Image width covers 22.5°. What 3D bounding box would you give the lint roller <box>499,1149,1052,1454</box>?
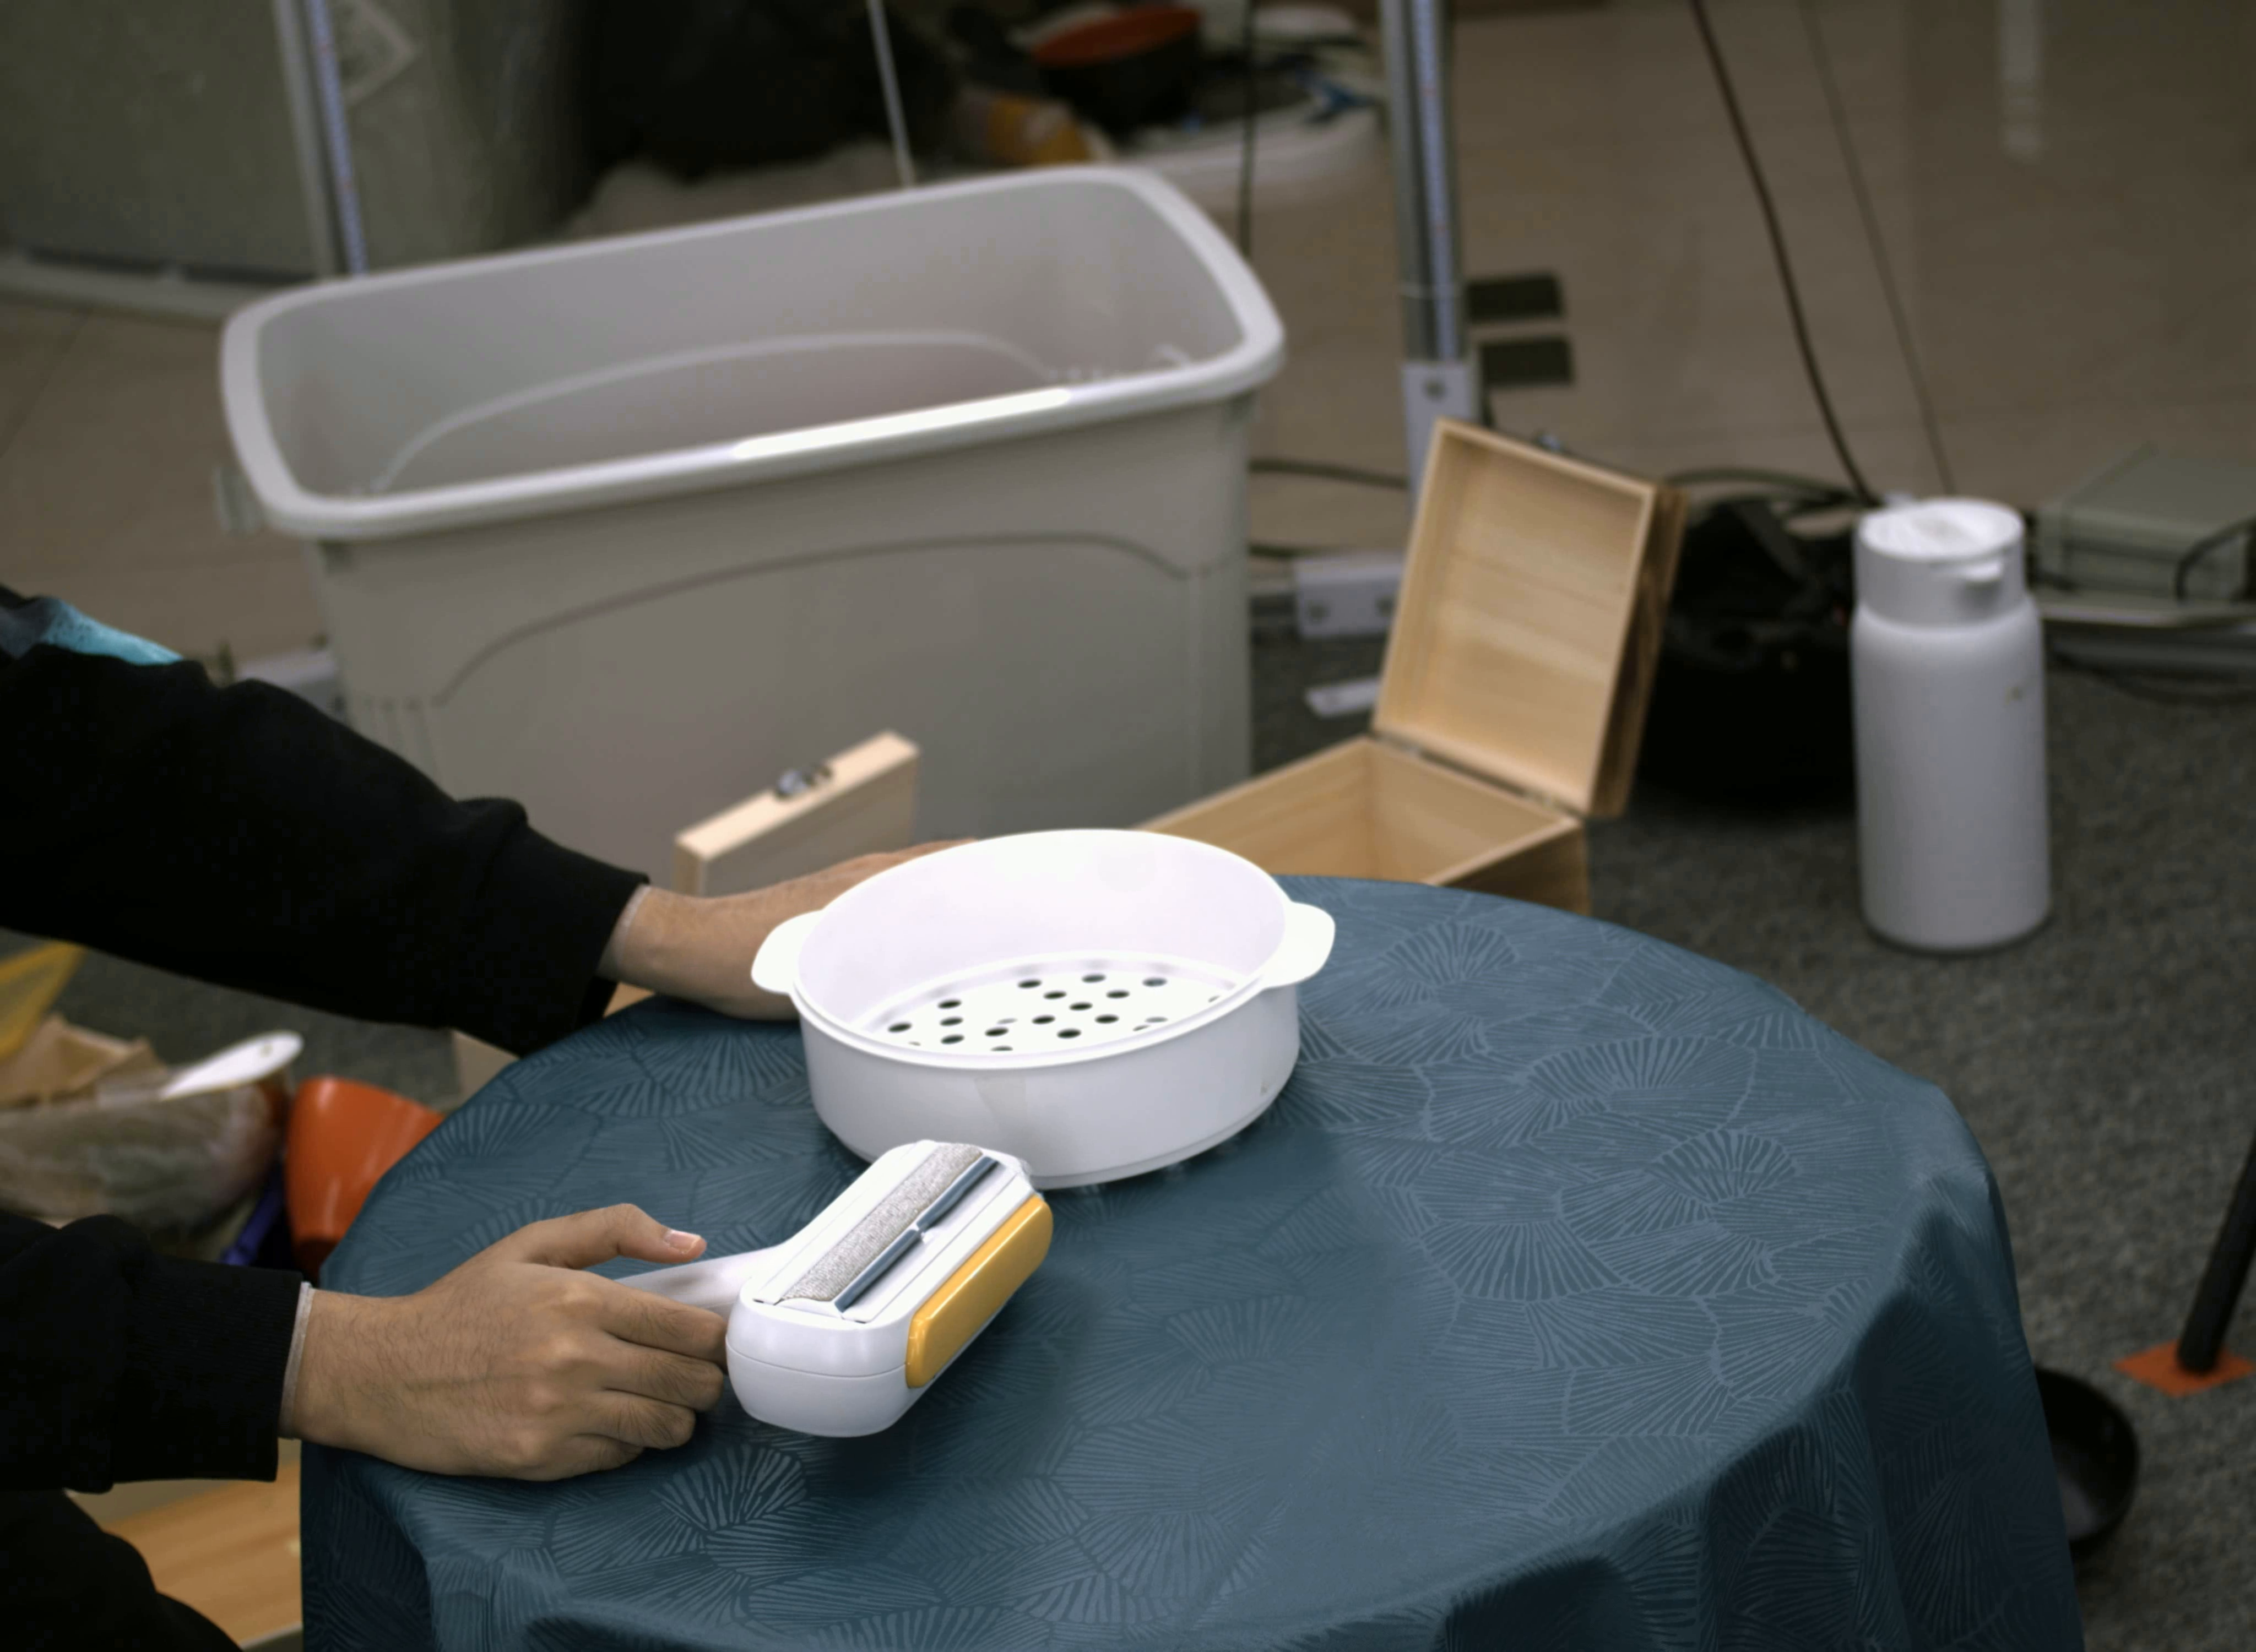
[{"bbox_3d":[-0.140,0.170,2.032,0.192,0.075,0.190,2,21,22],"label":"lint roller"}]

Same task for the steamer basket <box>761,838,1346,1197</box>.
[{"bbox_3d":[-0.026,0.075,2.211,0.230,0.070,0.199,-3,24,13],"label":"steamer basket"}]
